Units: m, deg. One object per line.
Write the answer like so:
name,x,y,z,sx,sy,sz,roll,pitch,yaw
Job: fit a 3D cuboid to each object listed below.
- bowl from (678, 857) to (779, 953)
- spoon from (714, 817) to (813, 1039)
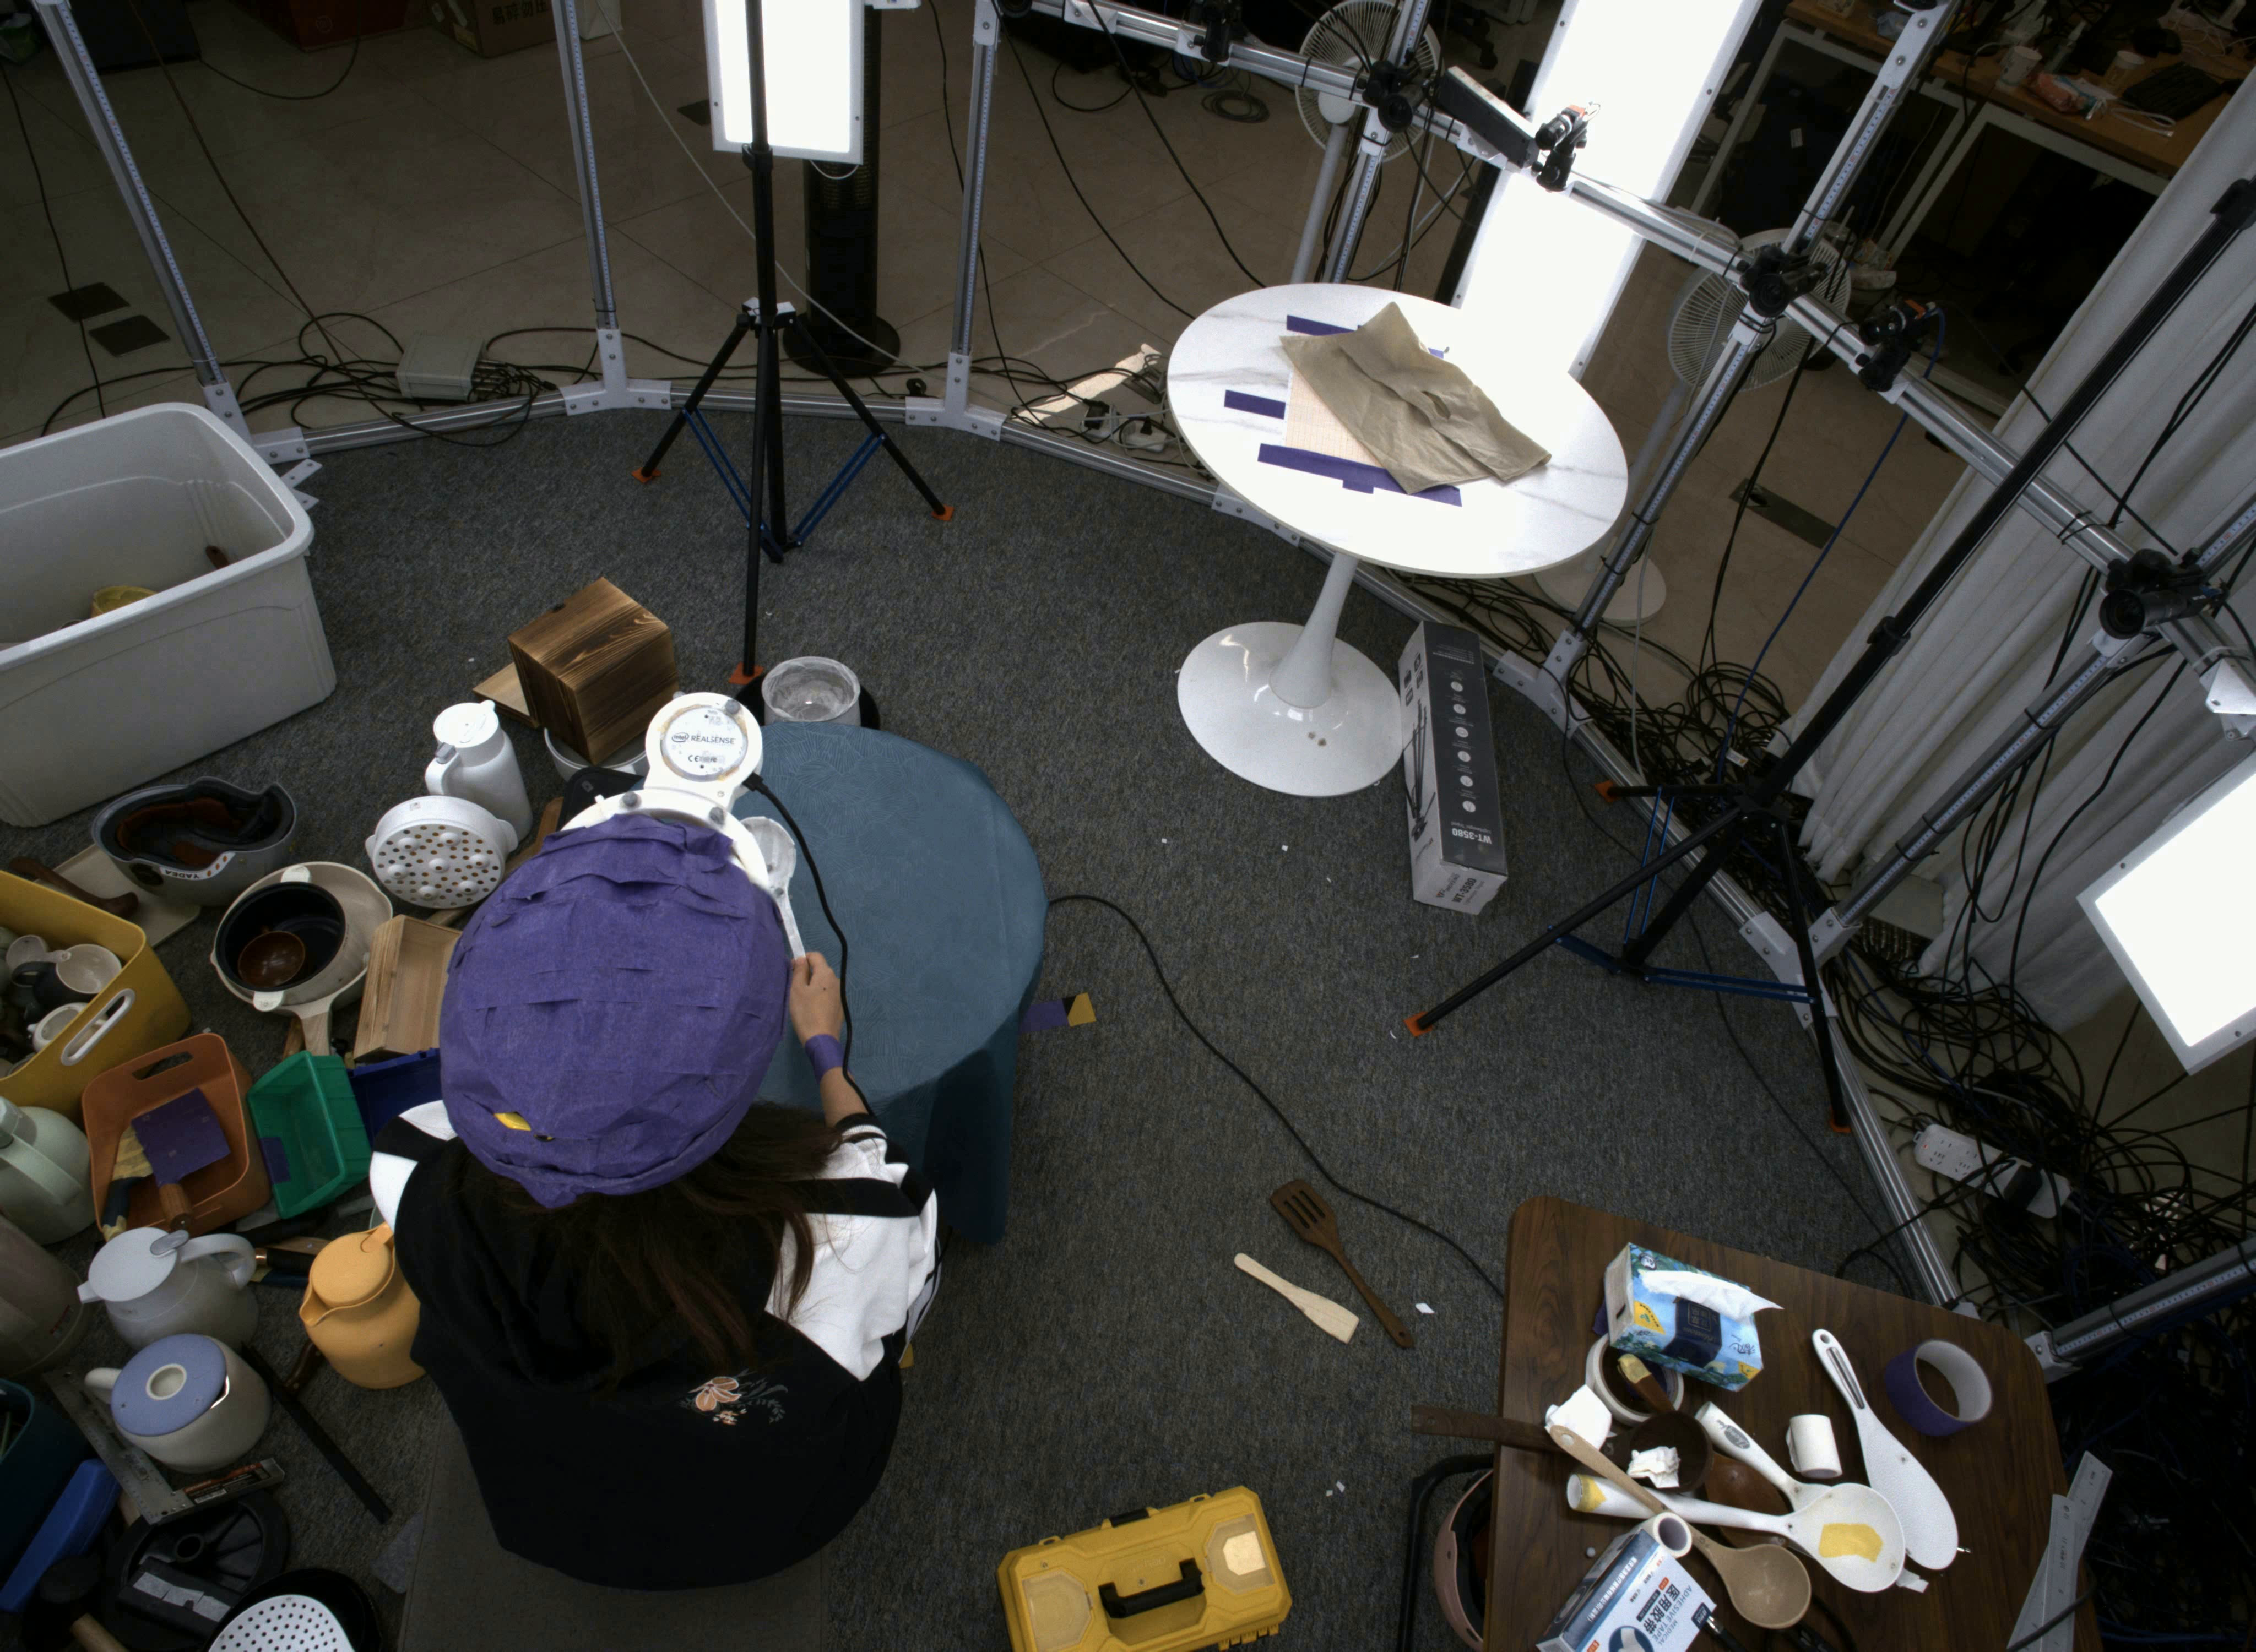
bowl,-0.486,0.102,1.579,0.118,0.071,0.116,8,52,-8
spoon,-0.427,0.119,1.519,0.099,0.061,0.272,-30,64,17
